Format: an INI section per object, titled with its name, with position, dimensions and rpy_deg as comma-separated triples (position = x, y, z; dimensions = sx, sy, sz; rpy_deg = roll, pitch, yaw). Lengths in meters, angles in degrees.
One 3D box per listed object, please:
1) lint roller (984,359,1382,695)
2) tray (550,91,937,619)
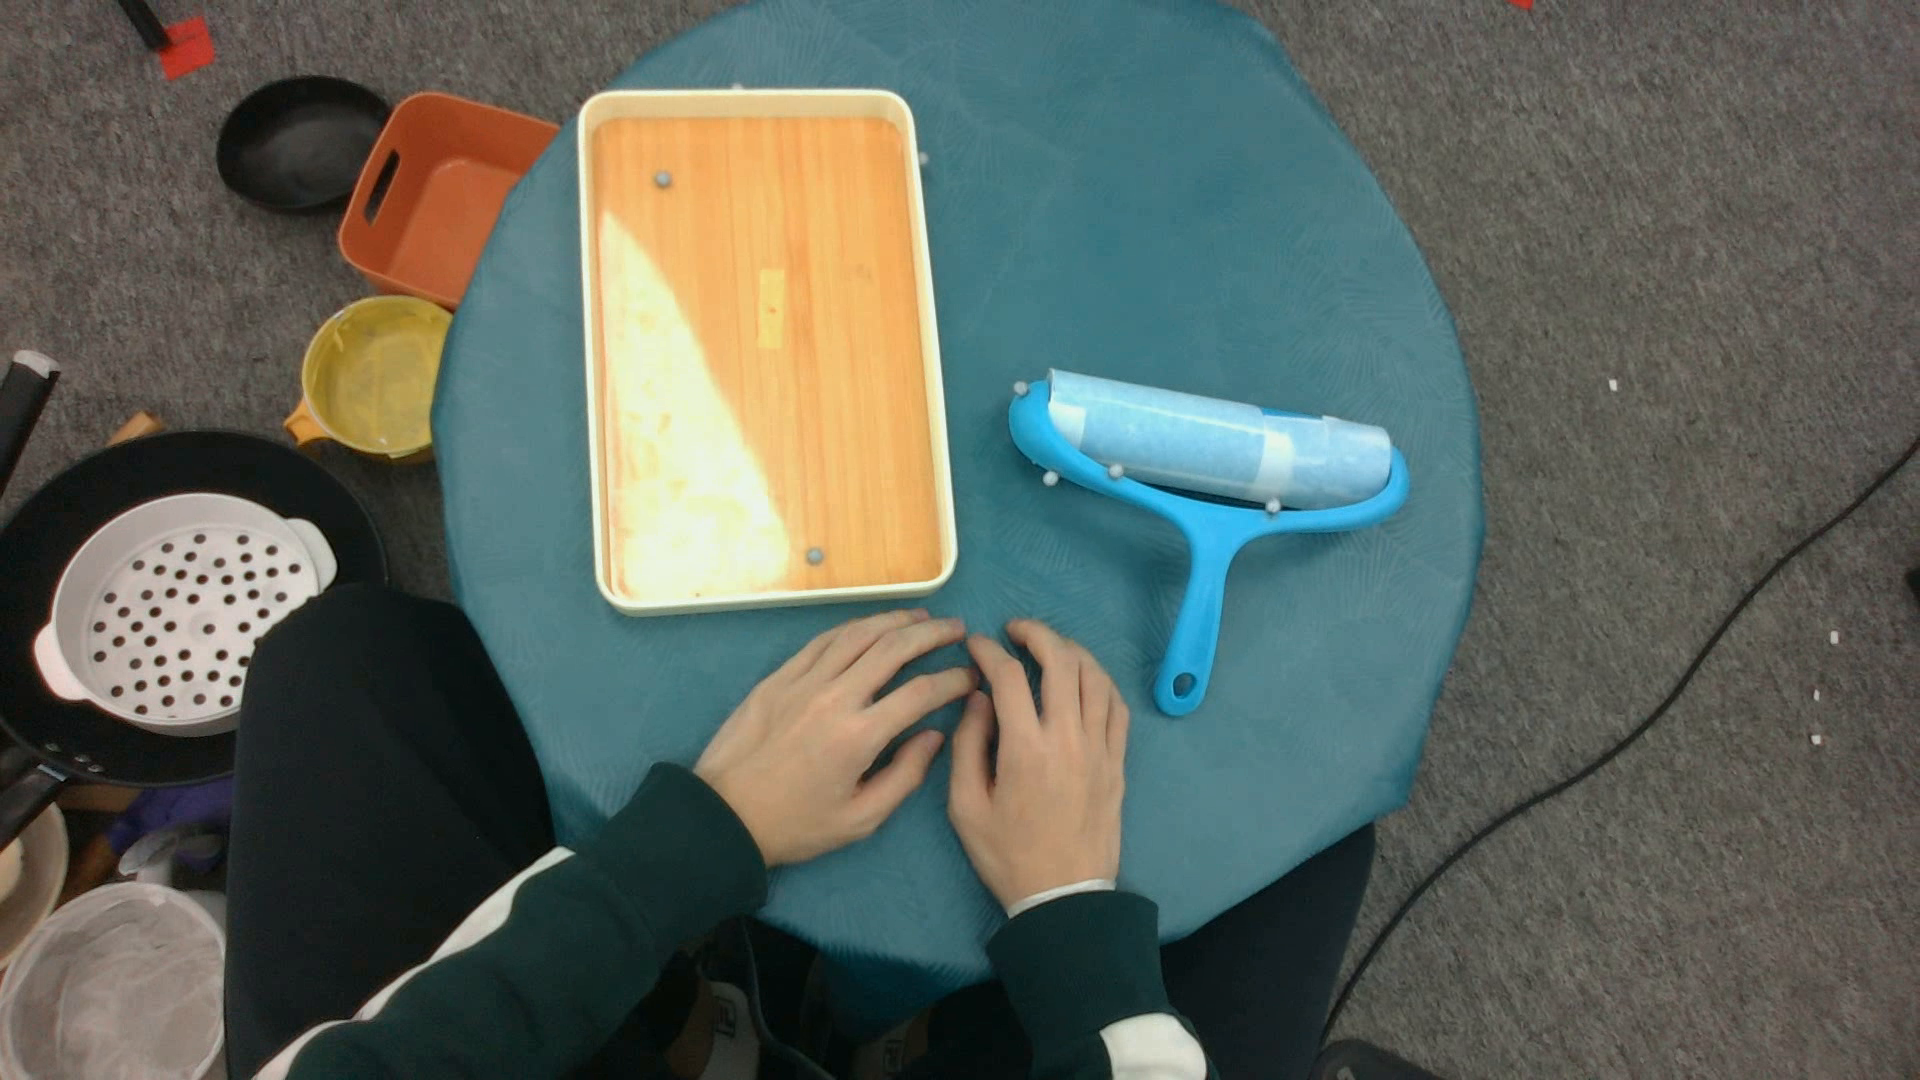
[lint roller]
position = 0.125, -0.008, 0.762
dimensions = 0.229, 0.067, 0.181
rpy_deg = 4, 73, -9
[tray]
position = -0.123, -0.110, 0.768
dimensions = 0.192, 0.027, 0.301
rpy_deg = -5, 75, -10
